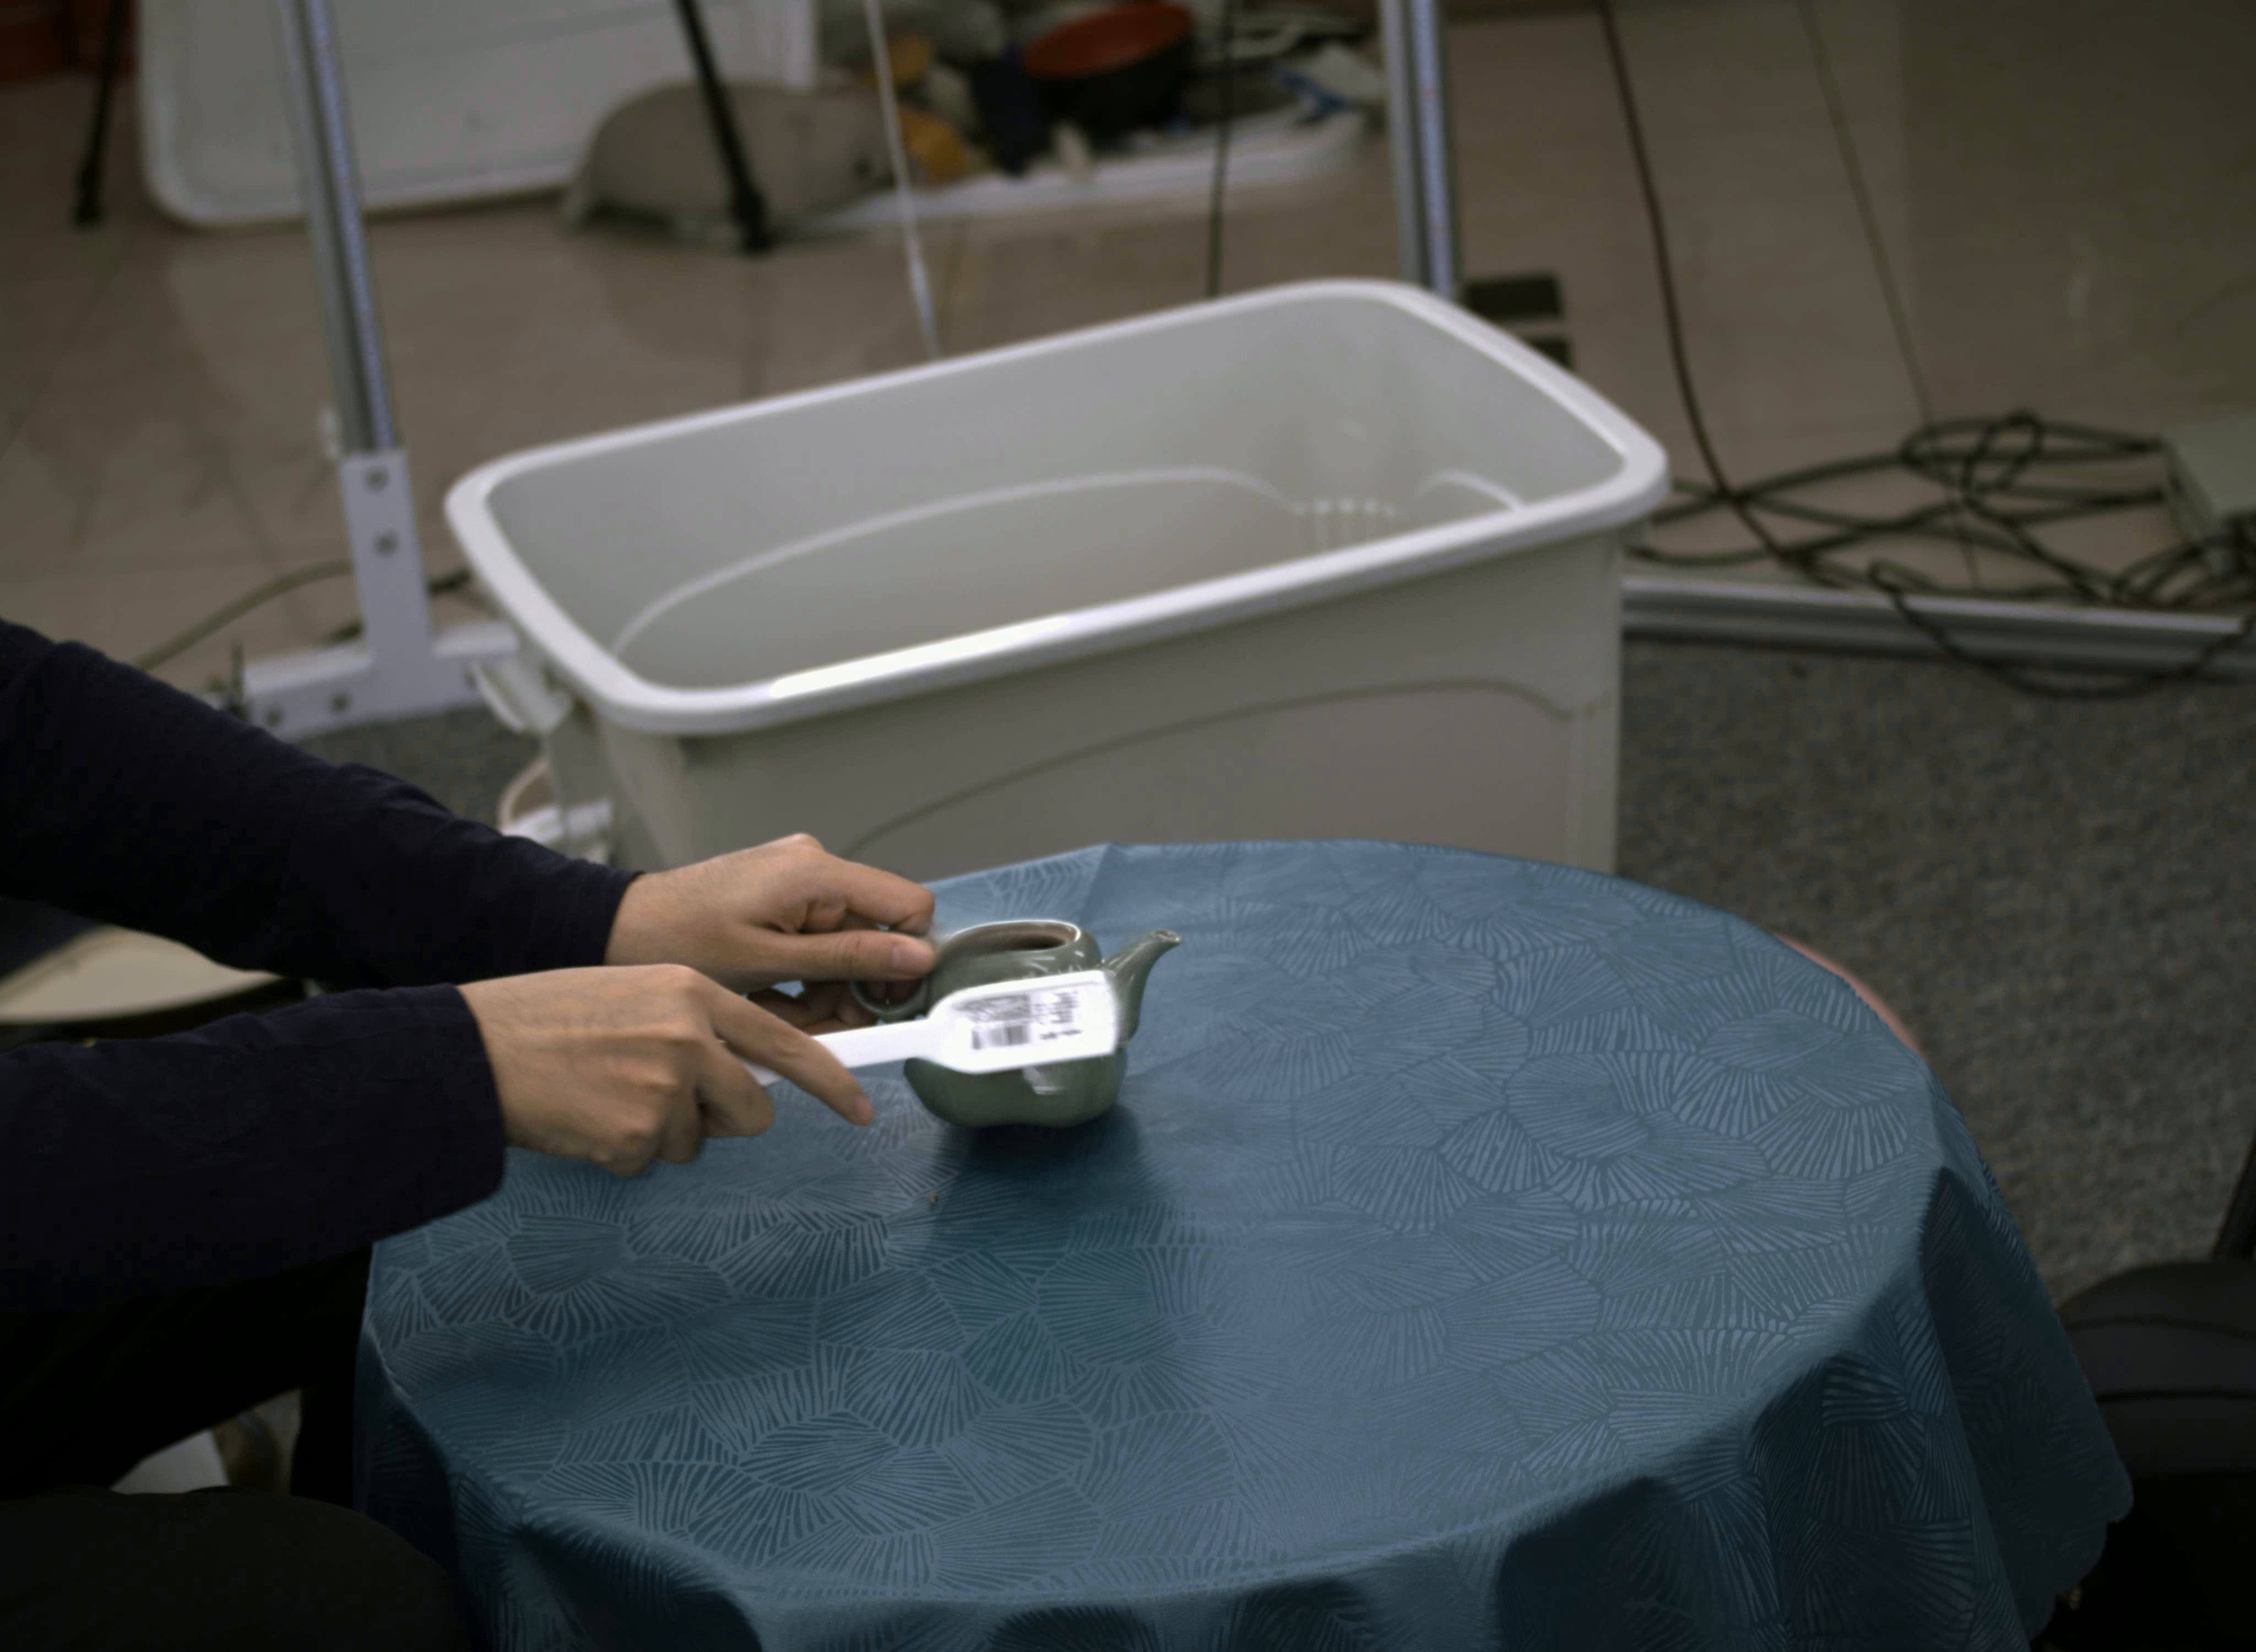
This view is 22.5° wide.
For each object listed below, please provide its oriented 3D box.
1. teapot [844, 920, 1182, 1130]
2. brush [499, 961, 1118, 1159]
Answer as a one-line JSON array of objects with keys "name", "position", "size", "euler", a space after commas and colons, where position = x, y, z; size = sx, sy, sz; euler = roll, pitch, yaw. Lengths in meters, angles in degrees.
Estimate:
[{"name": "teapot", "position": [-0.043, 0.075, 2.197], "size": [0.132, 0.076, 0.079], "euler": [-2, 13, 5]}, {"name": "brush", "position": [-0.119, 0.088, 2.117], "size": [0.243, 0.034, 0.050], "euler": [-12, 5, -14]}]
